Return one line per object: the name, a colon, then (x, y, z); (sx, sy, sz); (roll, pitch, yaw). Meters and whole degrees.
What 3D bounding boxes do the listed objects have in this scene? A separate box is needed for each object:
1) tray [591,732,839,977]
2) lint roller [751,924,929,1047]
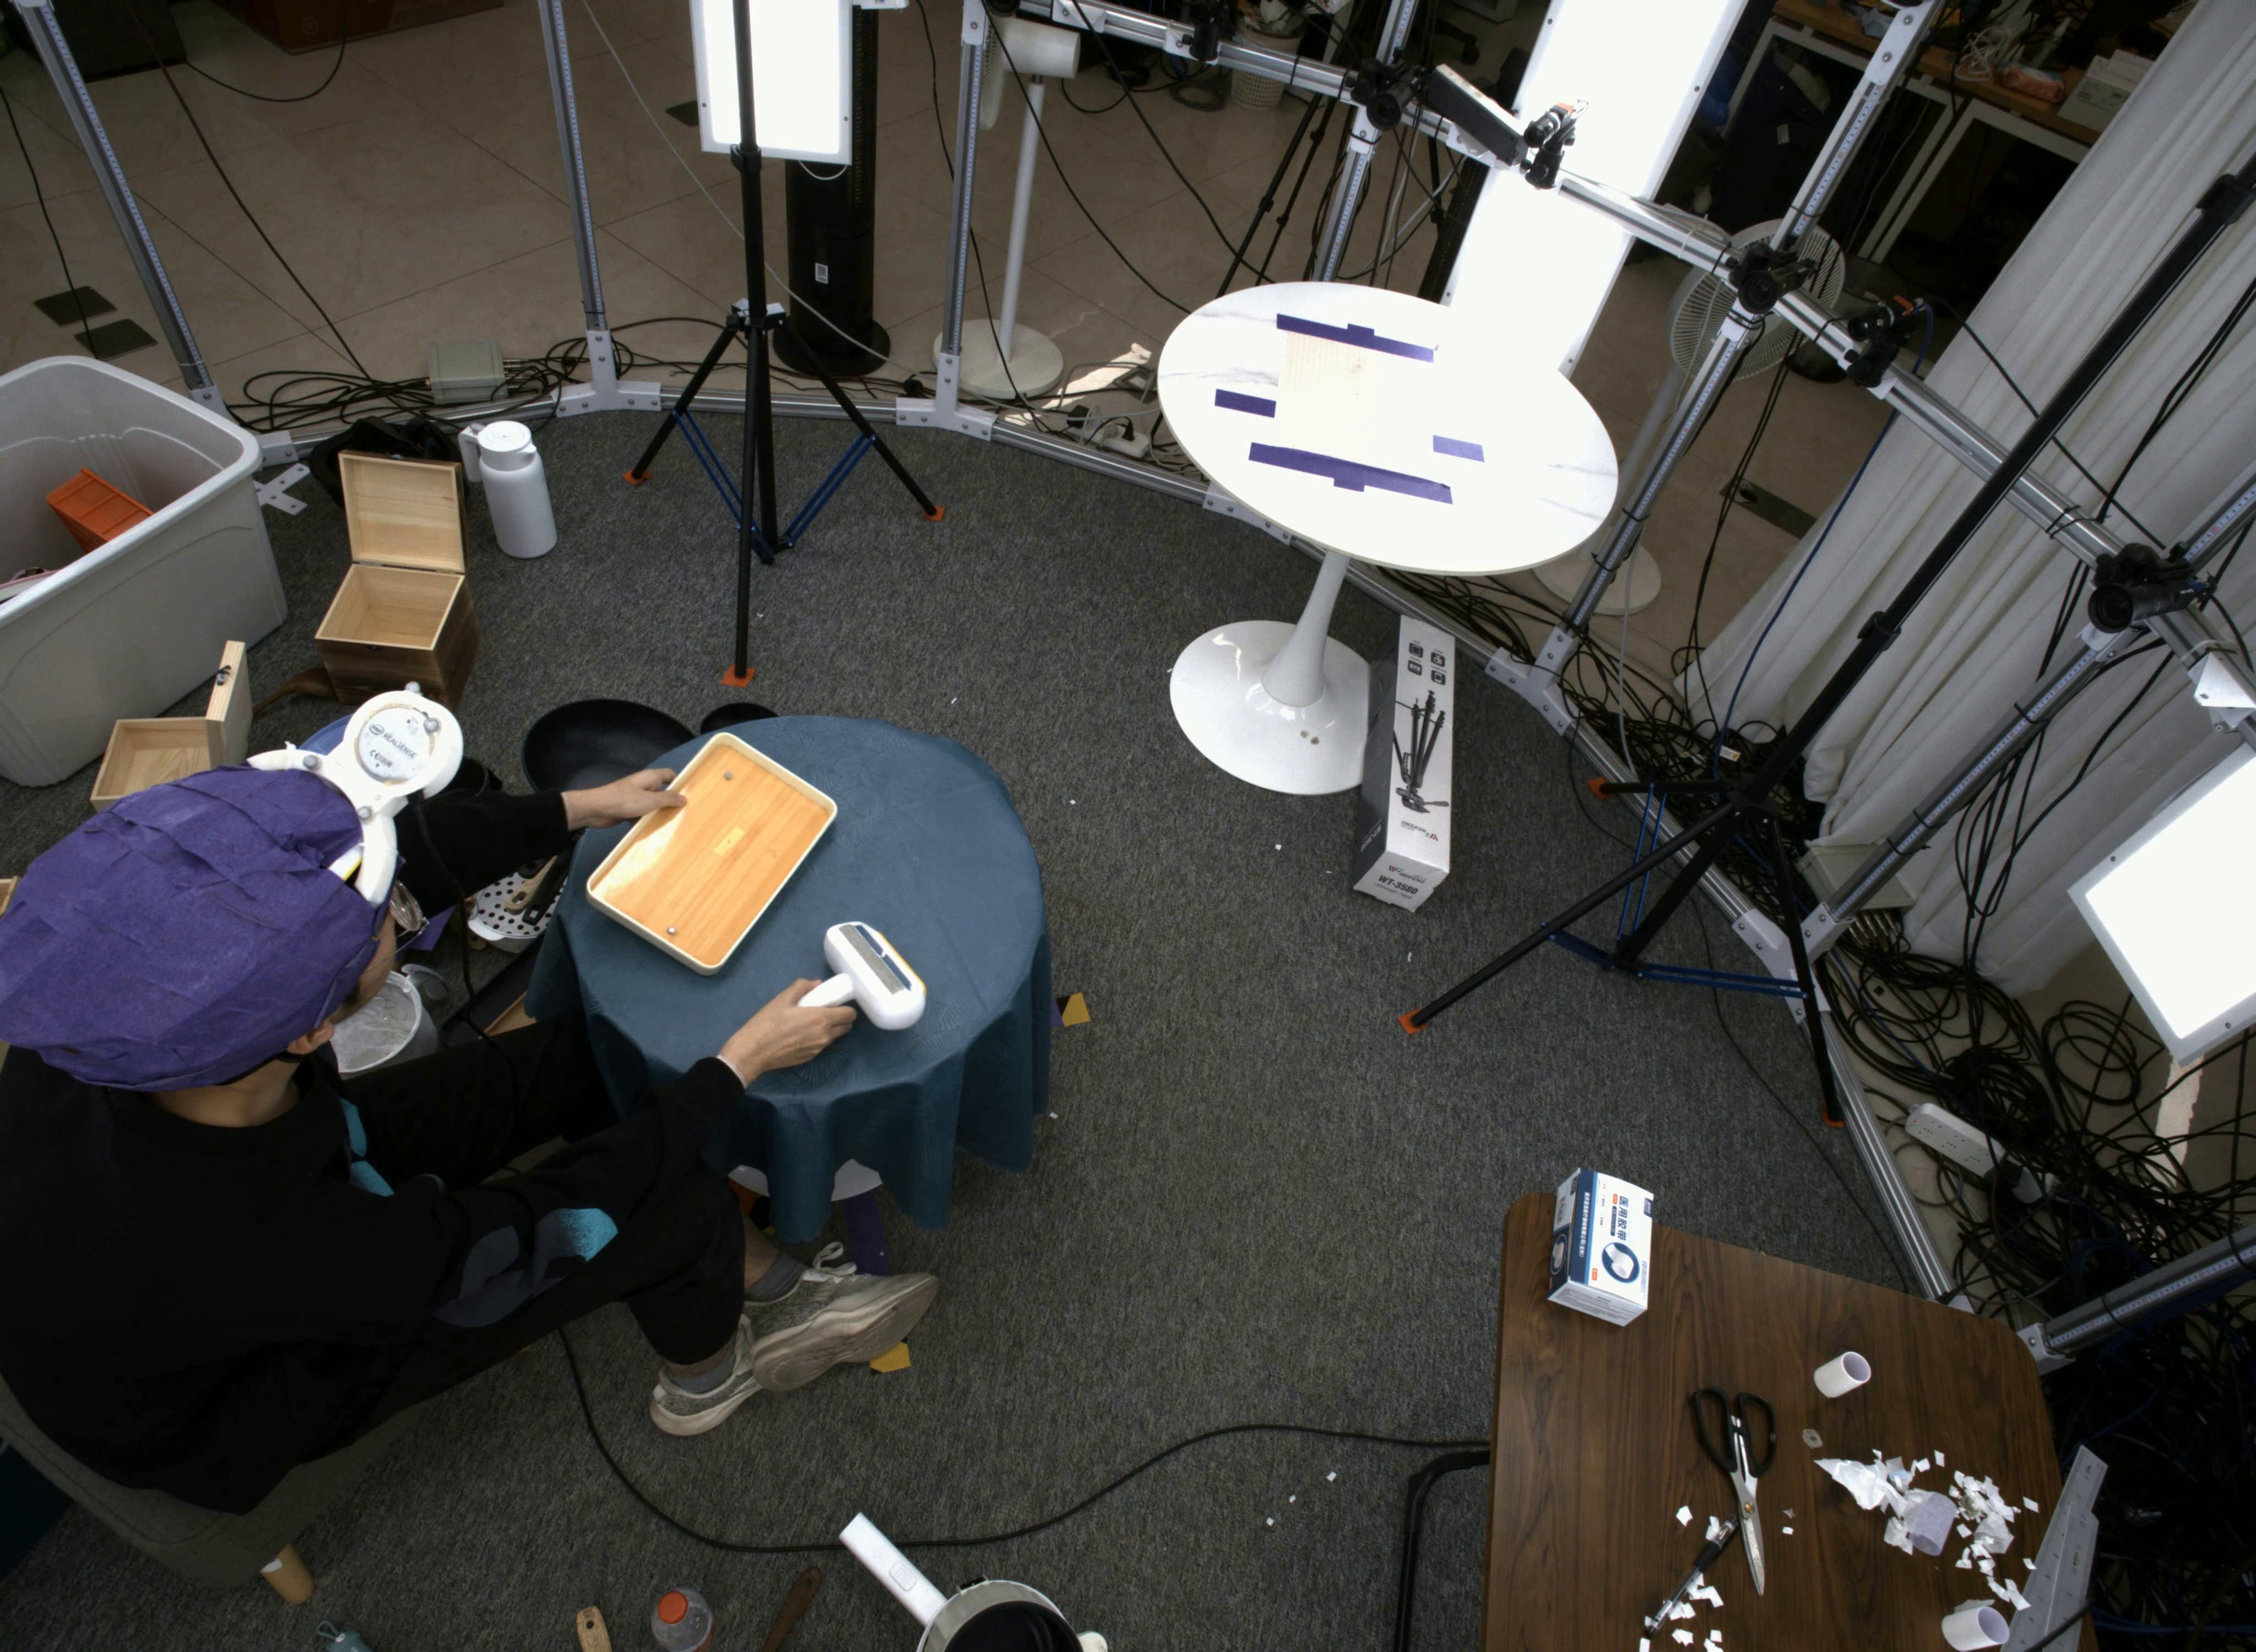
tray: (-0.520, 0.029, 1.635); (0.192, 0.027, 0.298); (36, 52, -6)
lint roller: (-0.352, 0.200, 1.533); (0.193, 0.076, 0.186); (-16, 41, -27)
